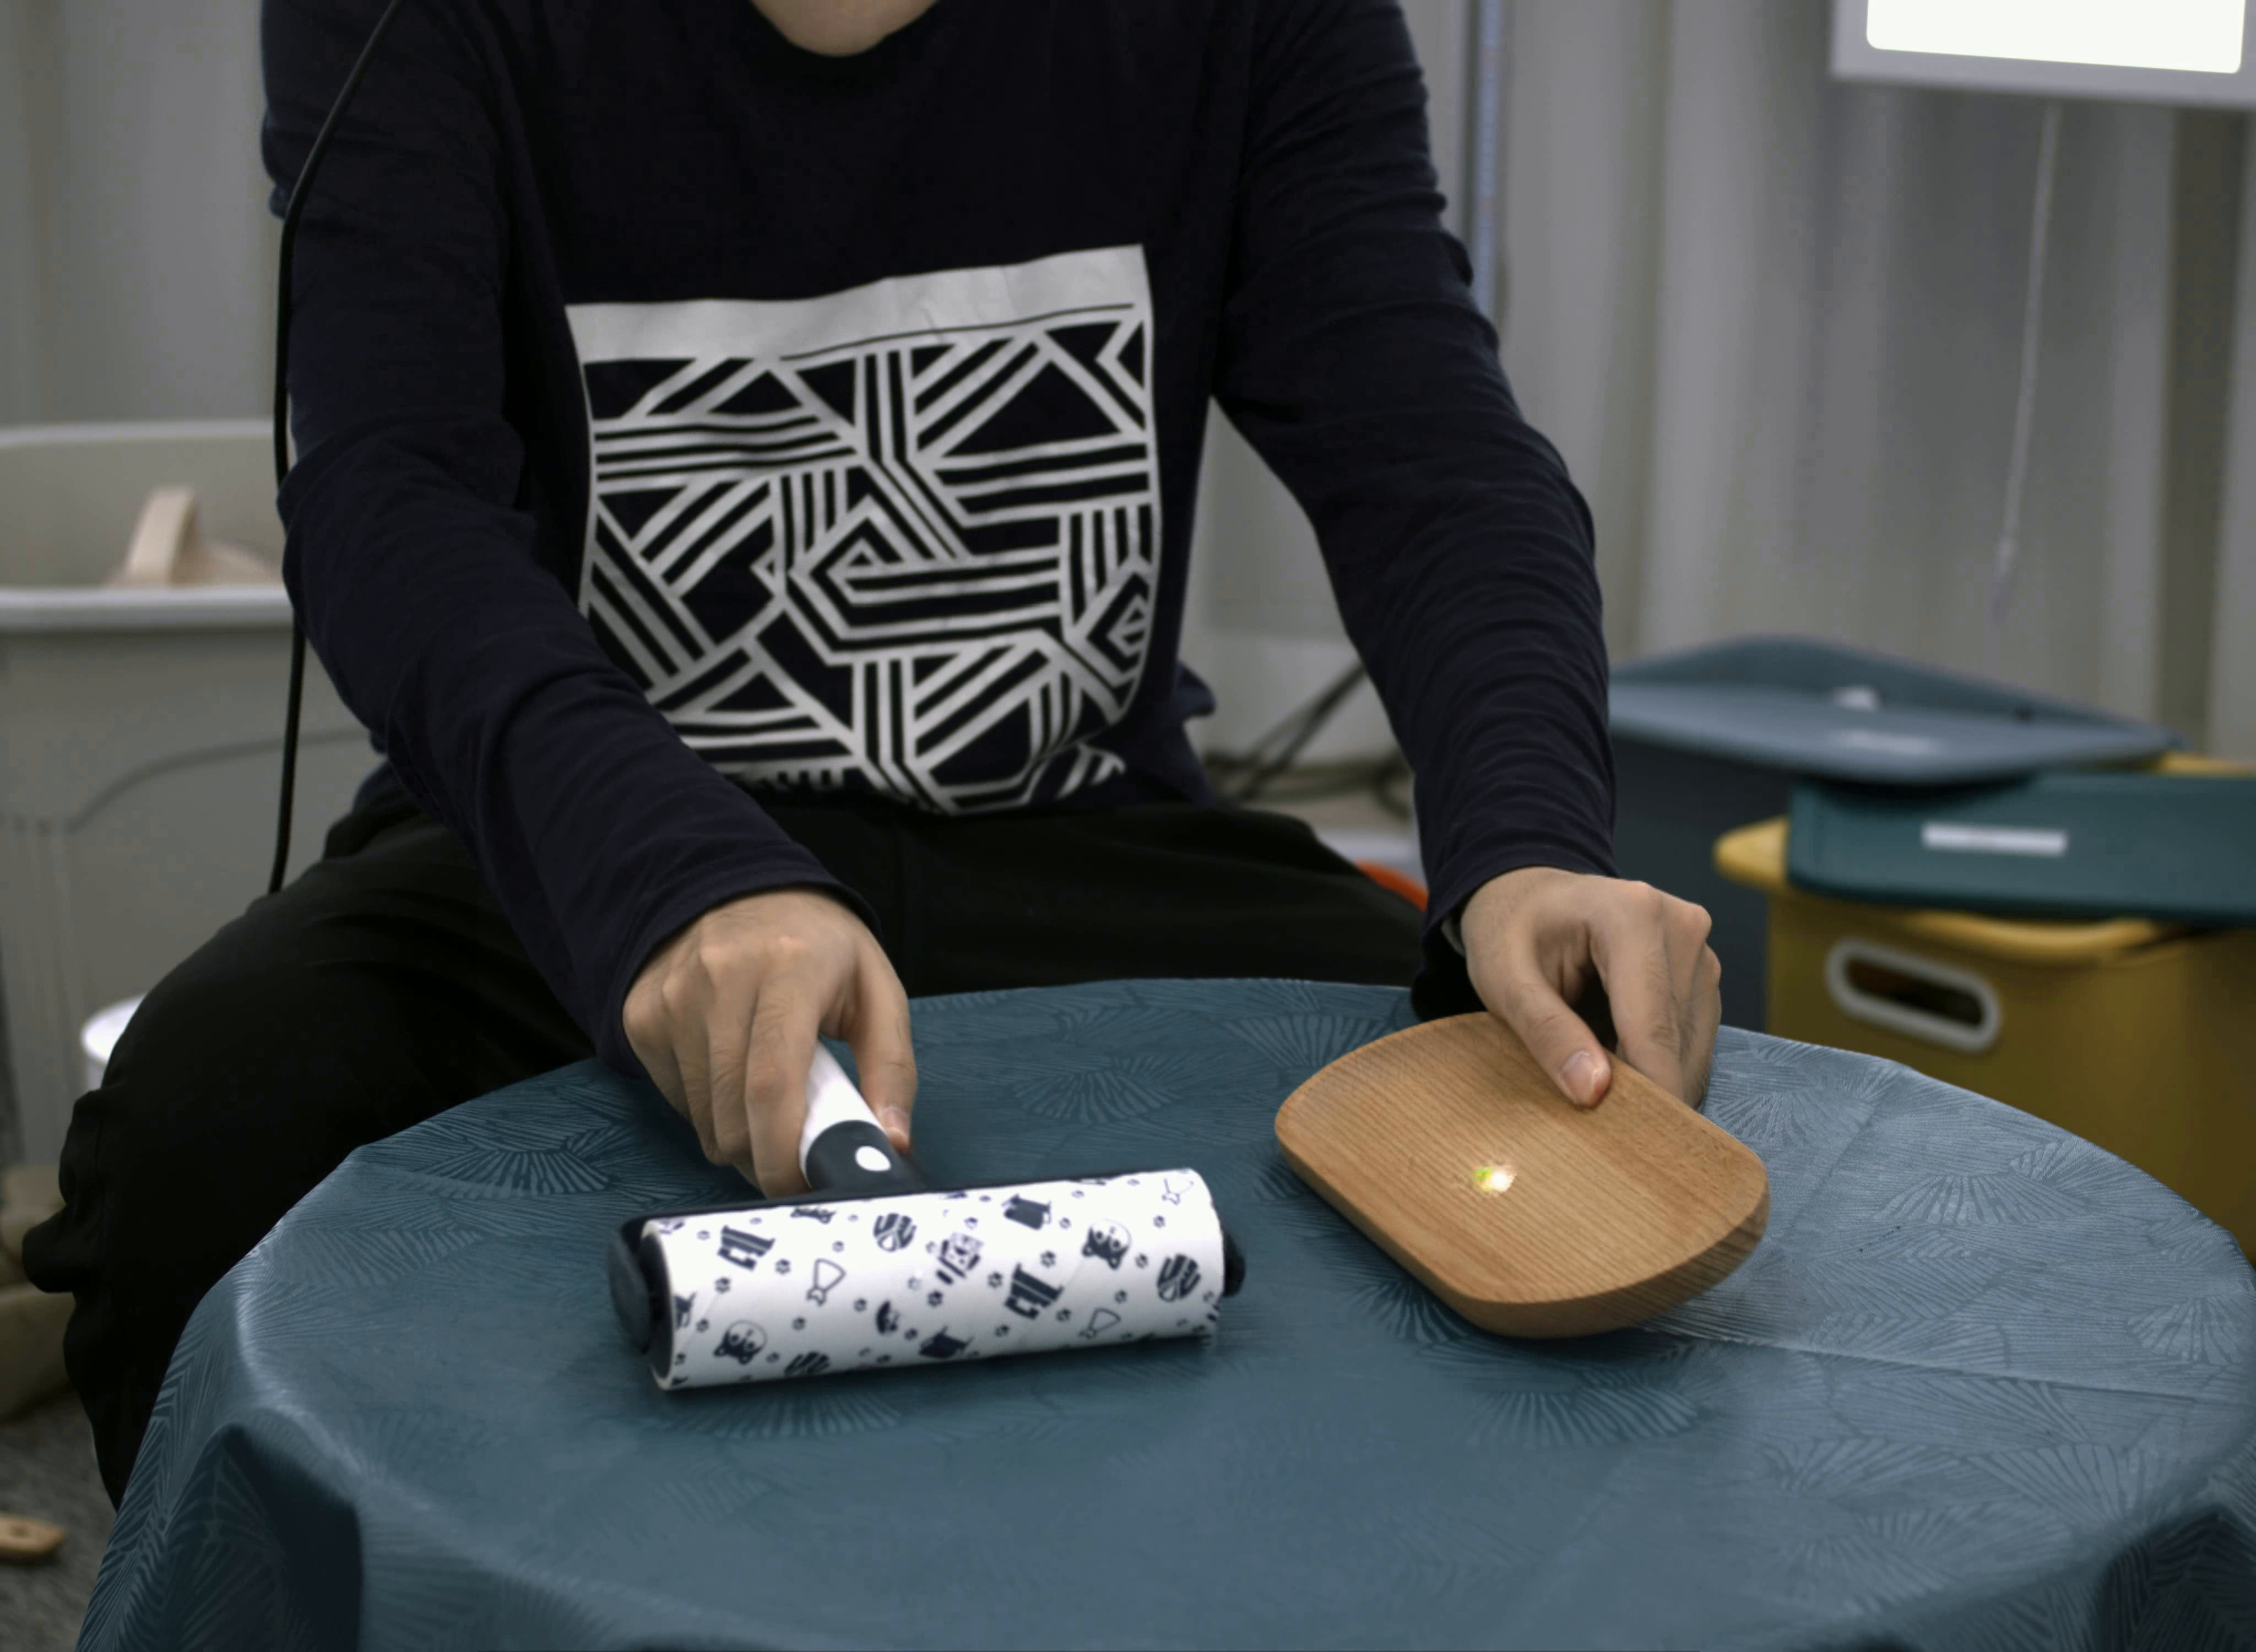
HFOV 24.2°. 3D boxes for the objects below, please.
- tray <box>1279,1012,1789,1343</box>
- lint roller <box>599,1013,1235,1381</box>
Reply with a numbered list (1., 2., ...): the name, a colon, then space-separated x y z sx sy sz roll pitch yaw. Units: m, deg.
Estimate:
1. tray: 0.120 0.103 1.581 0.101 0.020 0.228 -25 23 -13
2. lint roller: -0.088 0.096 1.570 0.176 0.051 0.244 -5 19 -17
